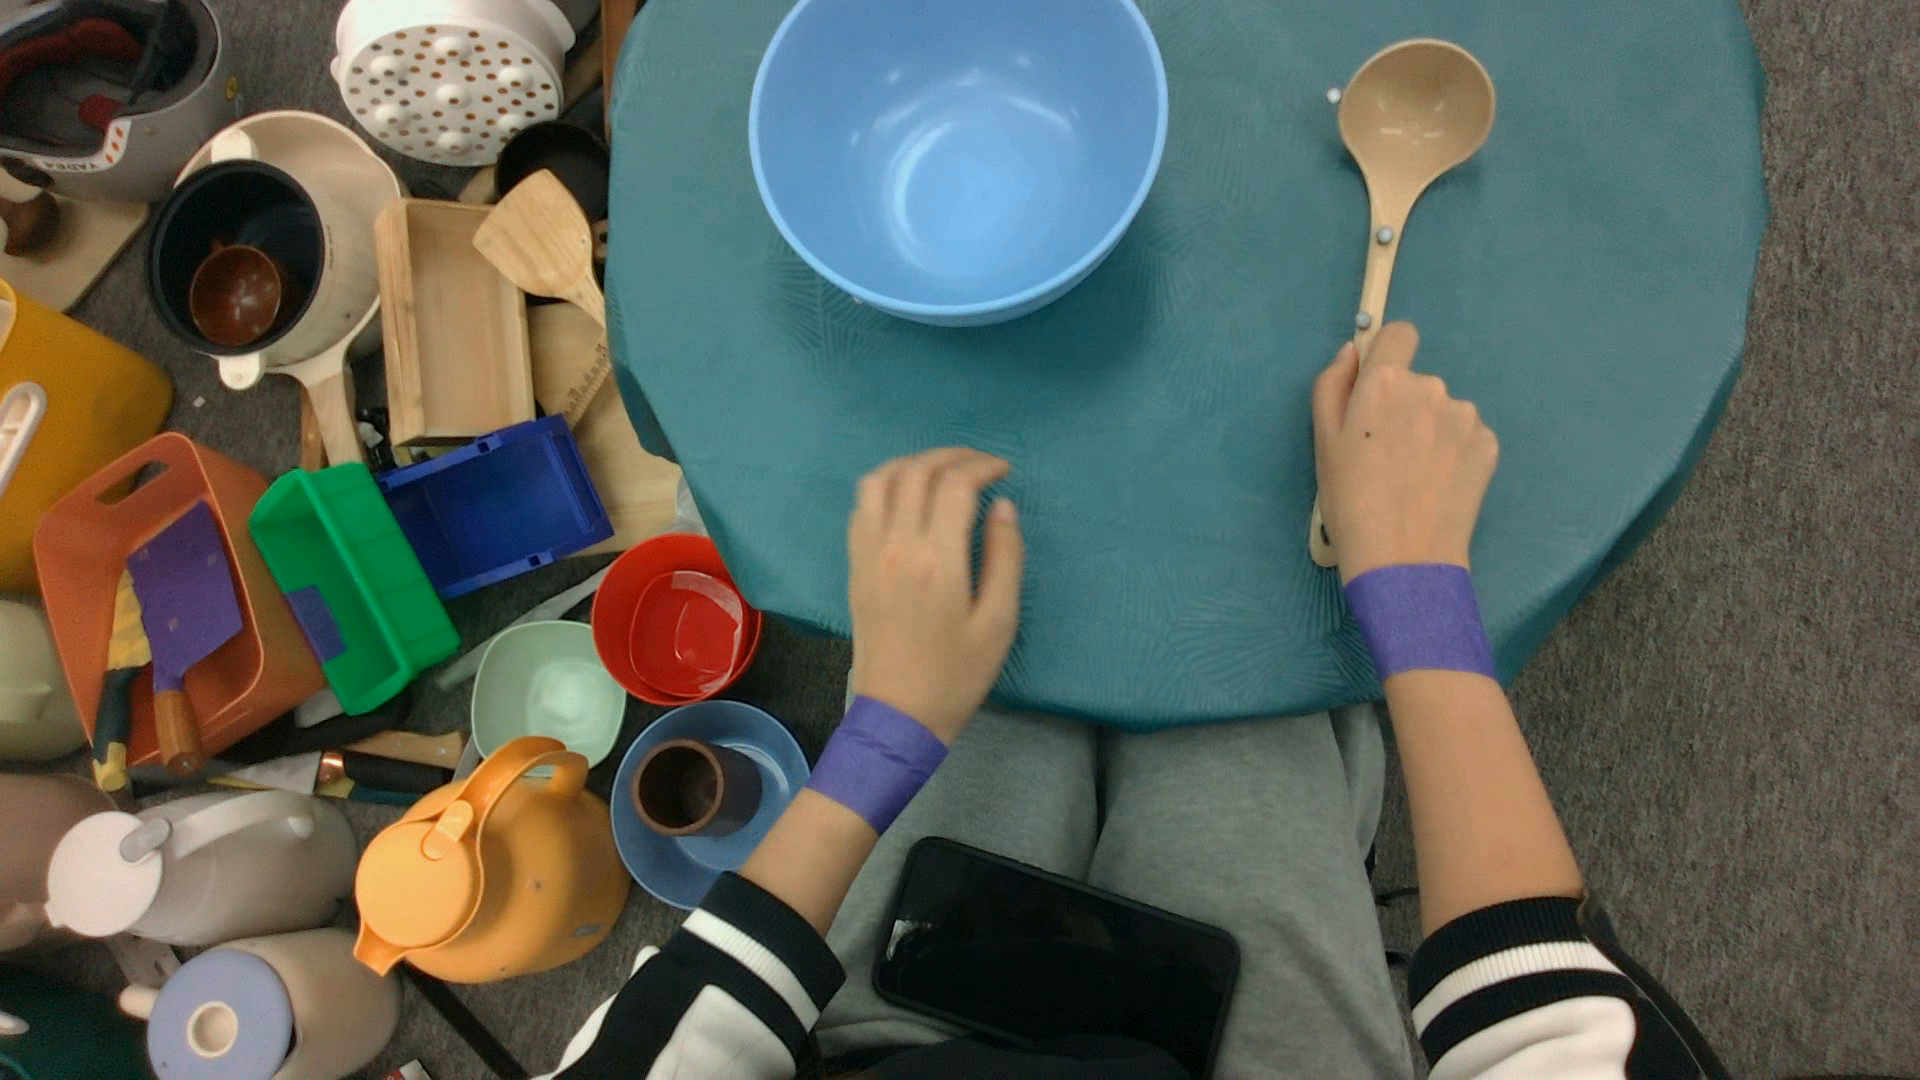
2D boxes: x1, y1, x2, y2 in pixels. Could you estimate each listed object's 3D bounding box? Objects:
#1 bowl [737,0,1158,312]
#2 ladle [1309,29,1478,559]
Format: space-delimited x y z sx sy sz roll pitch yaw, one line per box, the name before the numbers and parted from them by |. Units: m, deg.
bowl | -0.004 -0.195 0.685 0.196 0.095 0.197 -1 78 3
ladle | 0.197 -0.121 0.658 0.072 0.072 0.255 10 79 8
